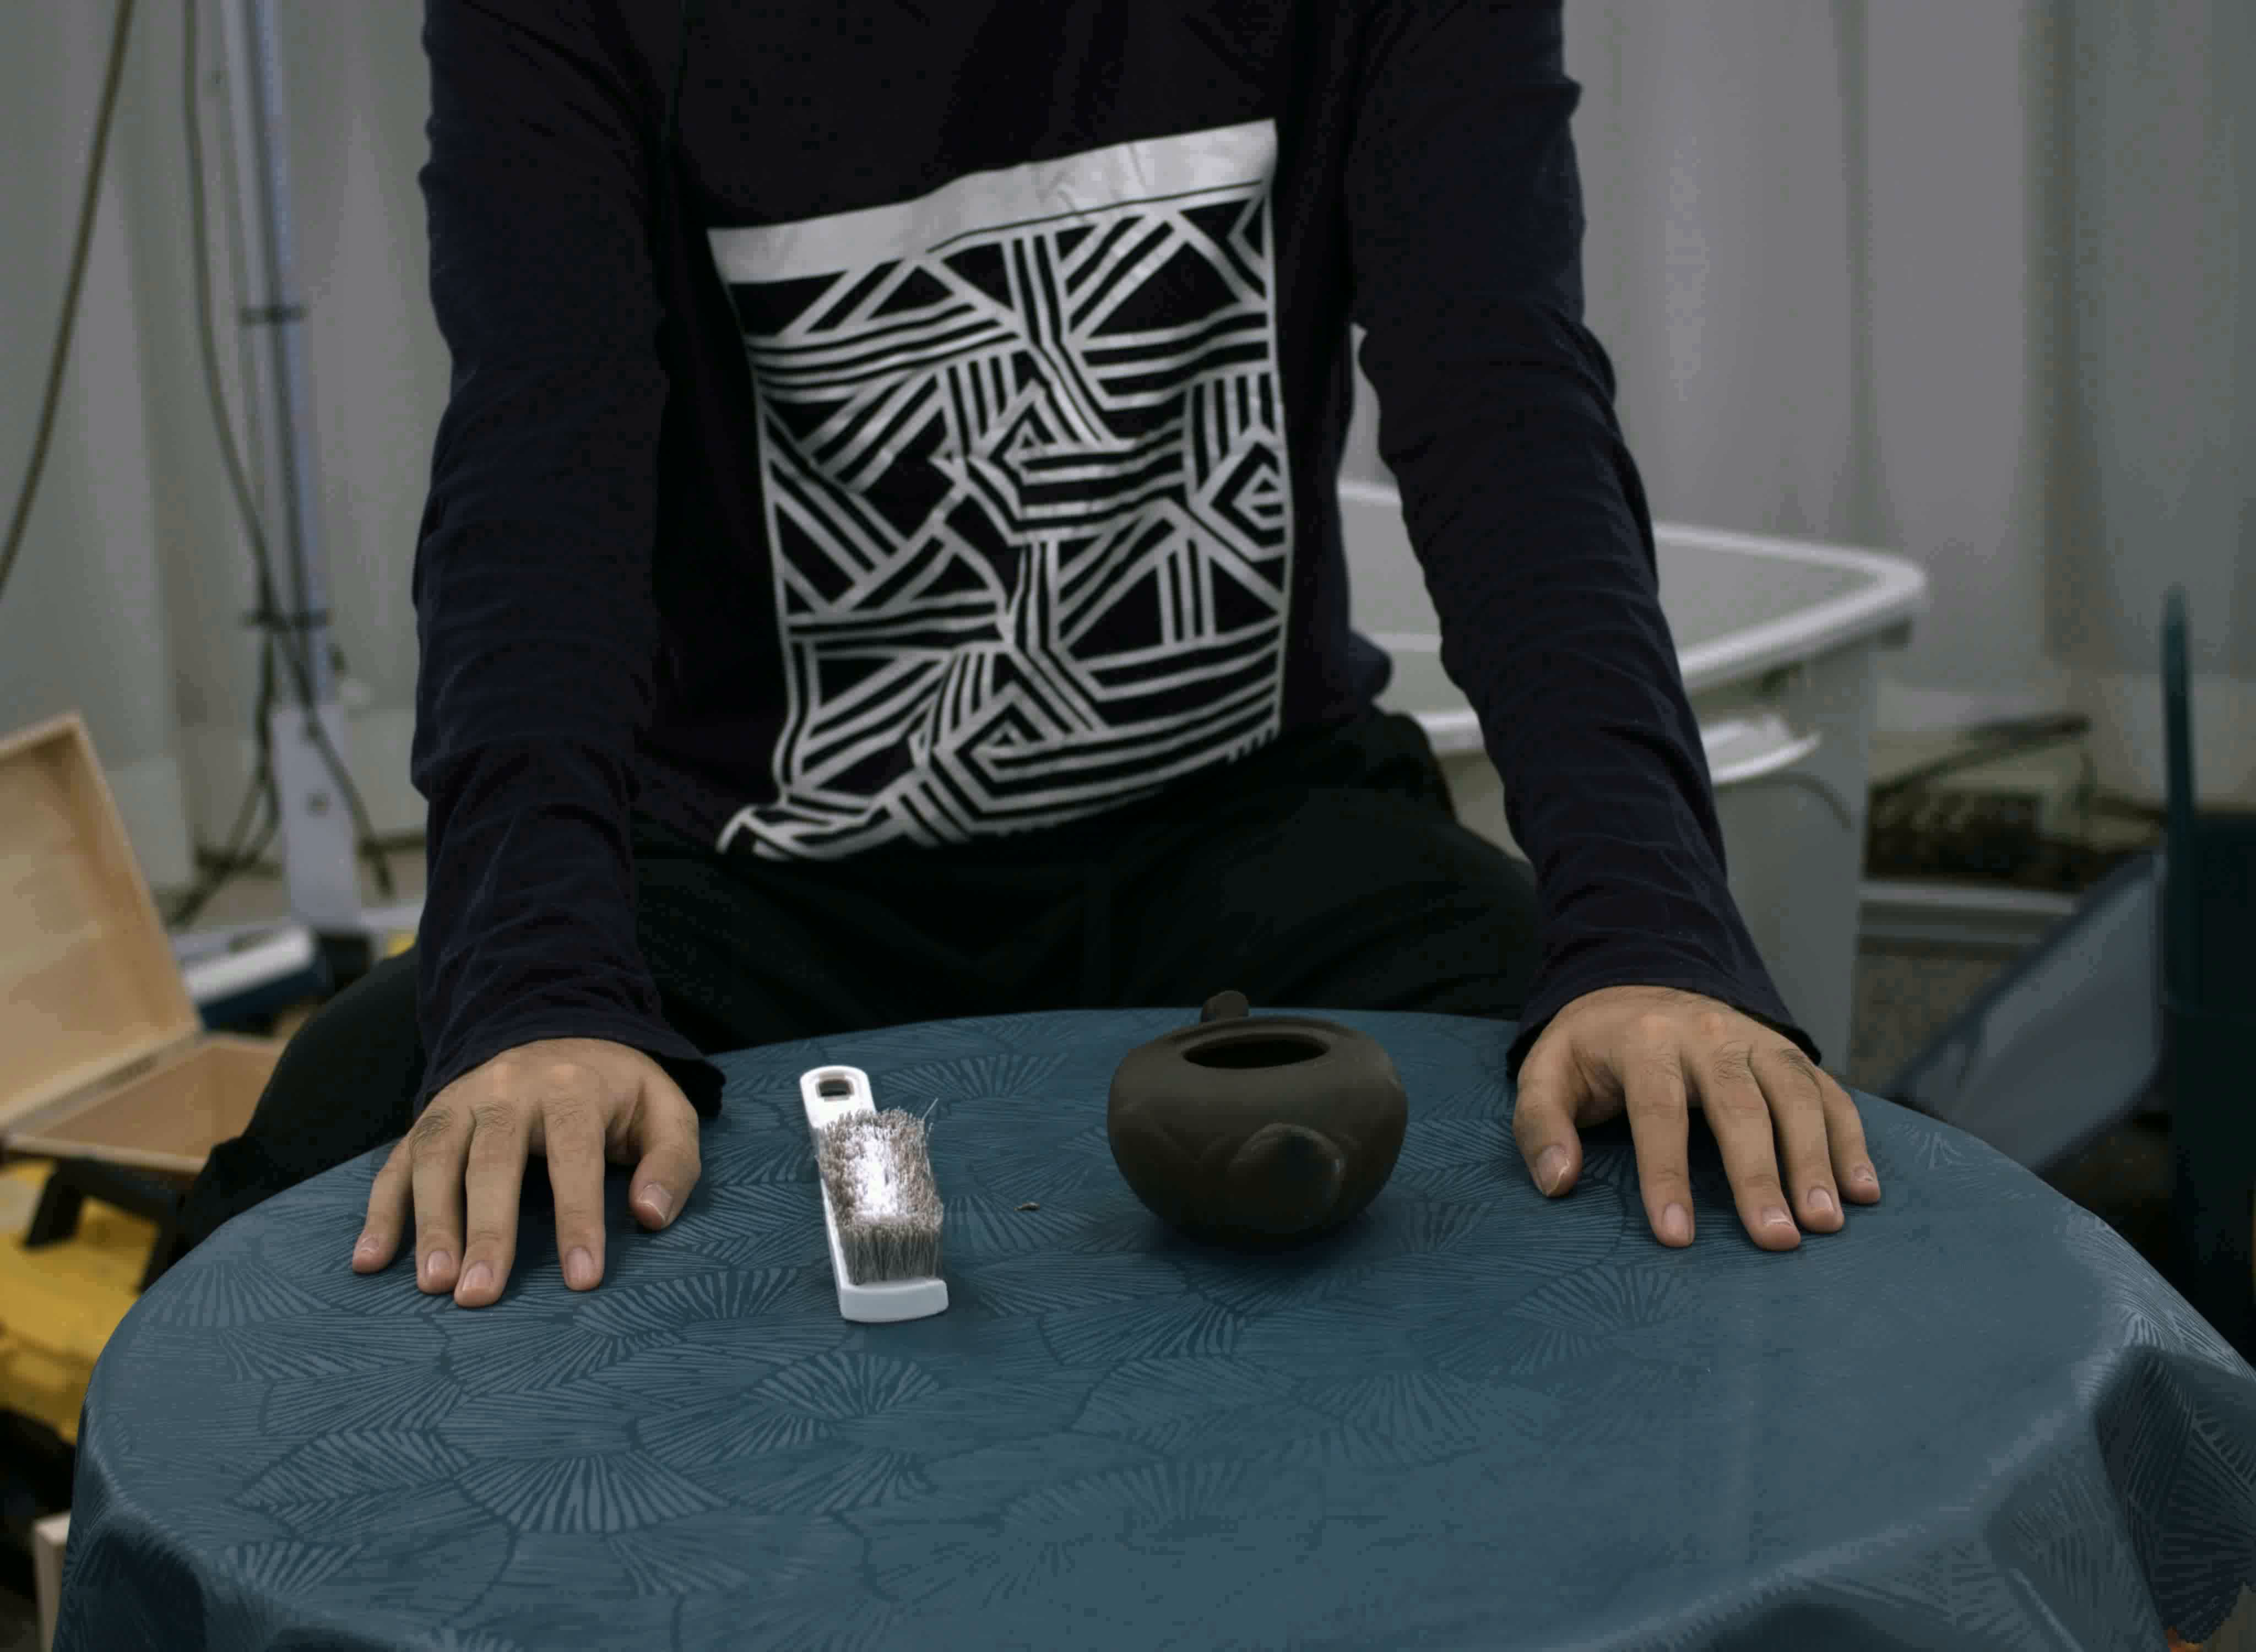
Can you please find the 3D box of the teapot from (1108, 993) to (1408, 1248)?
[{"bbox_3d":[0.039,0.091,1.678,0.092,0.064,0.155,-5,14,-6],"label":"teapot"}]

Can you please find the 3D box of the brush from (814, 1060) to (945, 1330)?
[{"bbox_3d":[-0.081,0.095,1.710,0.034,0.050,0.245,-9,16,-2],"label":"brush"}]
